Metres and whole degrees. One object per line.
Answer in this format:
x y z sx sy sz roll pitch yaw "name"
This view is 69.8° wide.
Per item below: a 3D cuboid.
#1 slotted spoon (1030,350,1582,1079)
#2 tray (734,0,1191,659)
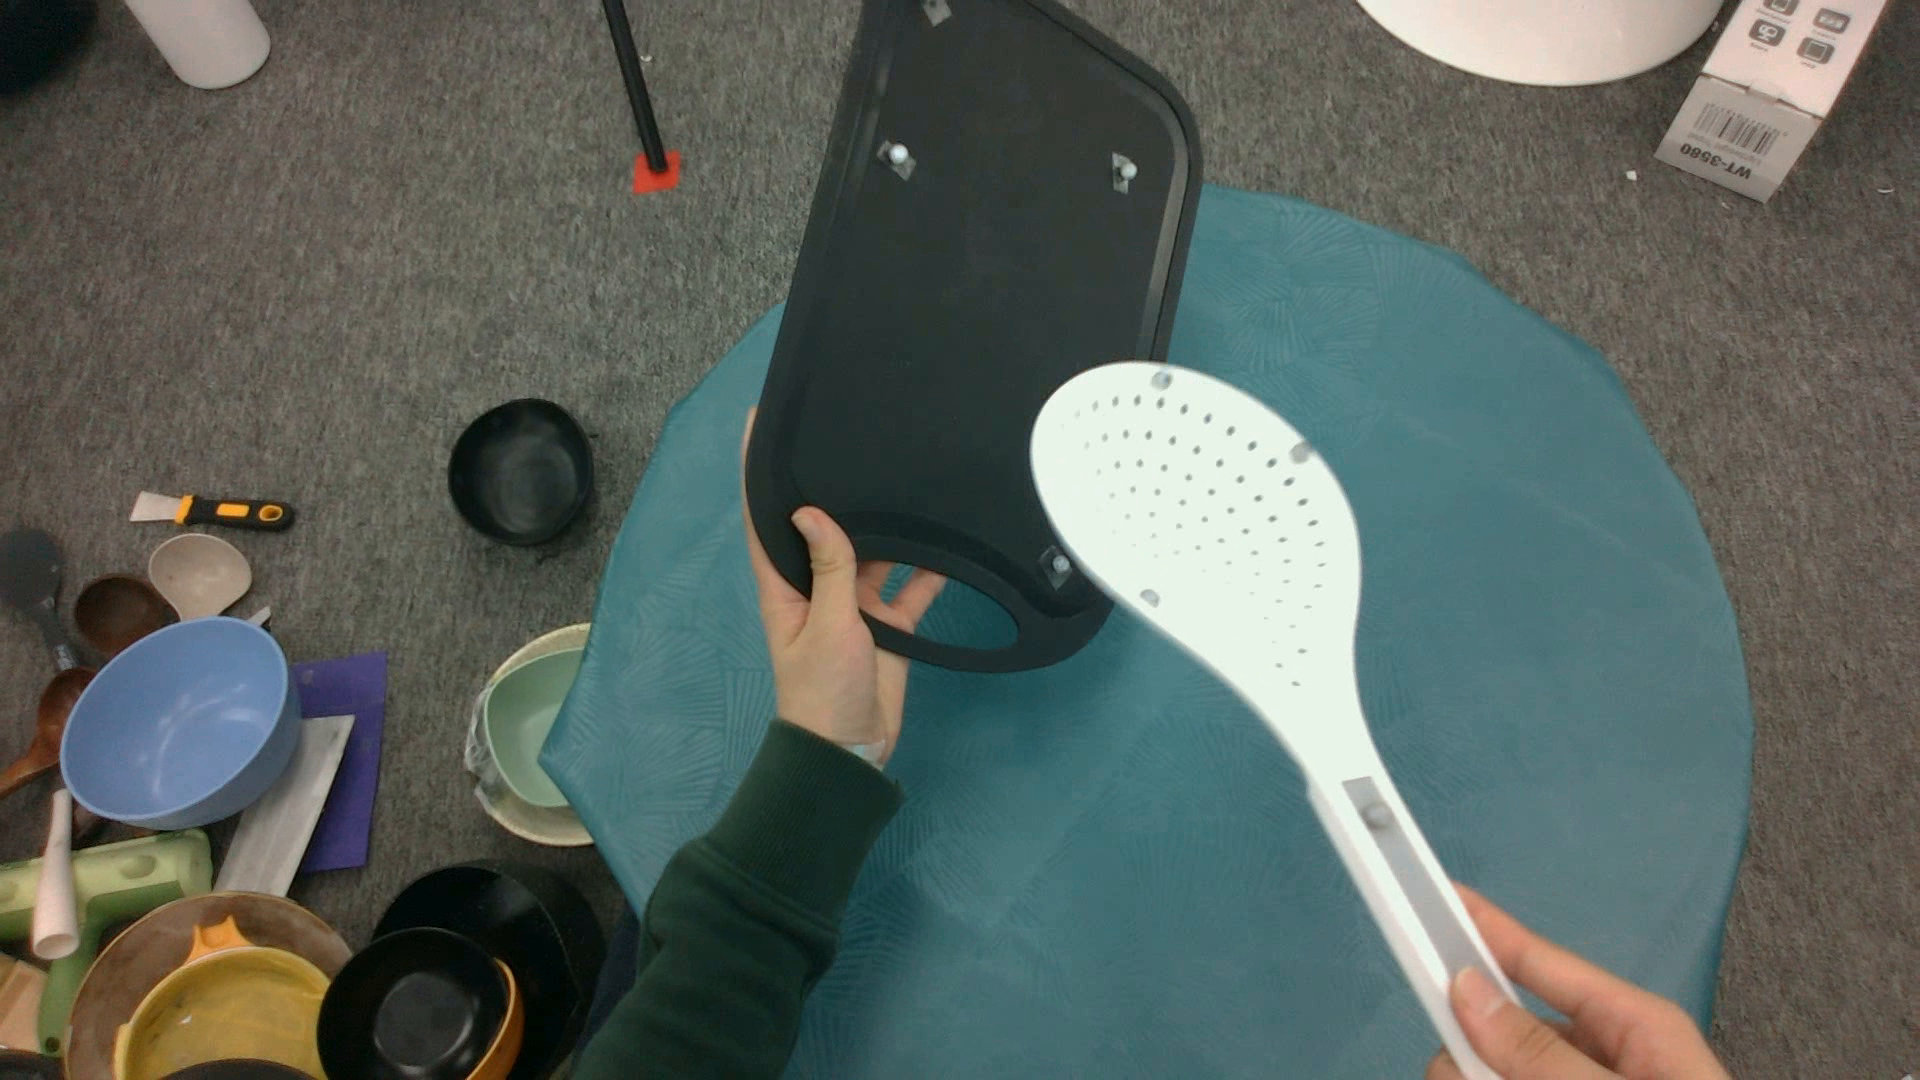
0.127 0.064 0.477 0.136 0.045 0.350 -6 49 -27 "slotted spoon"
0.013 -0.108 0.642 0.211 0.010 0.326 21 76 -33 "tray"
